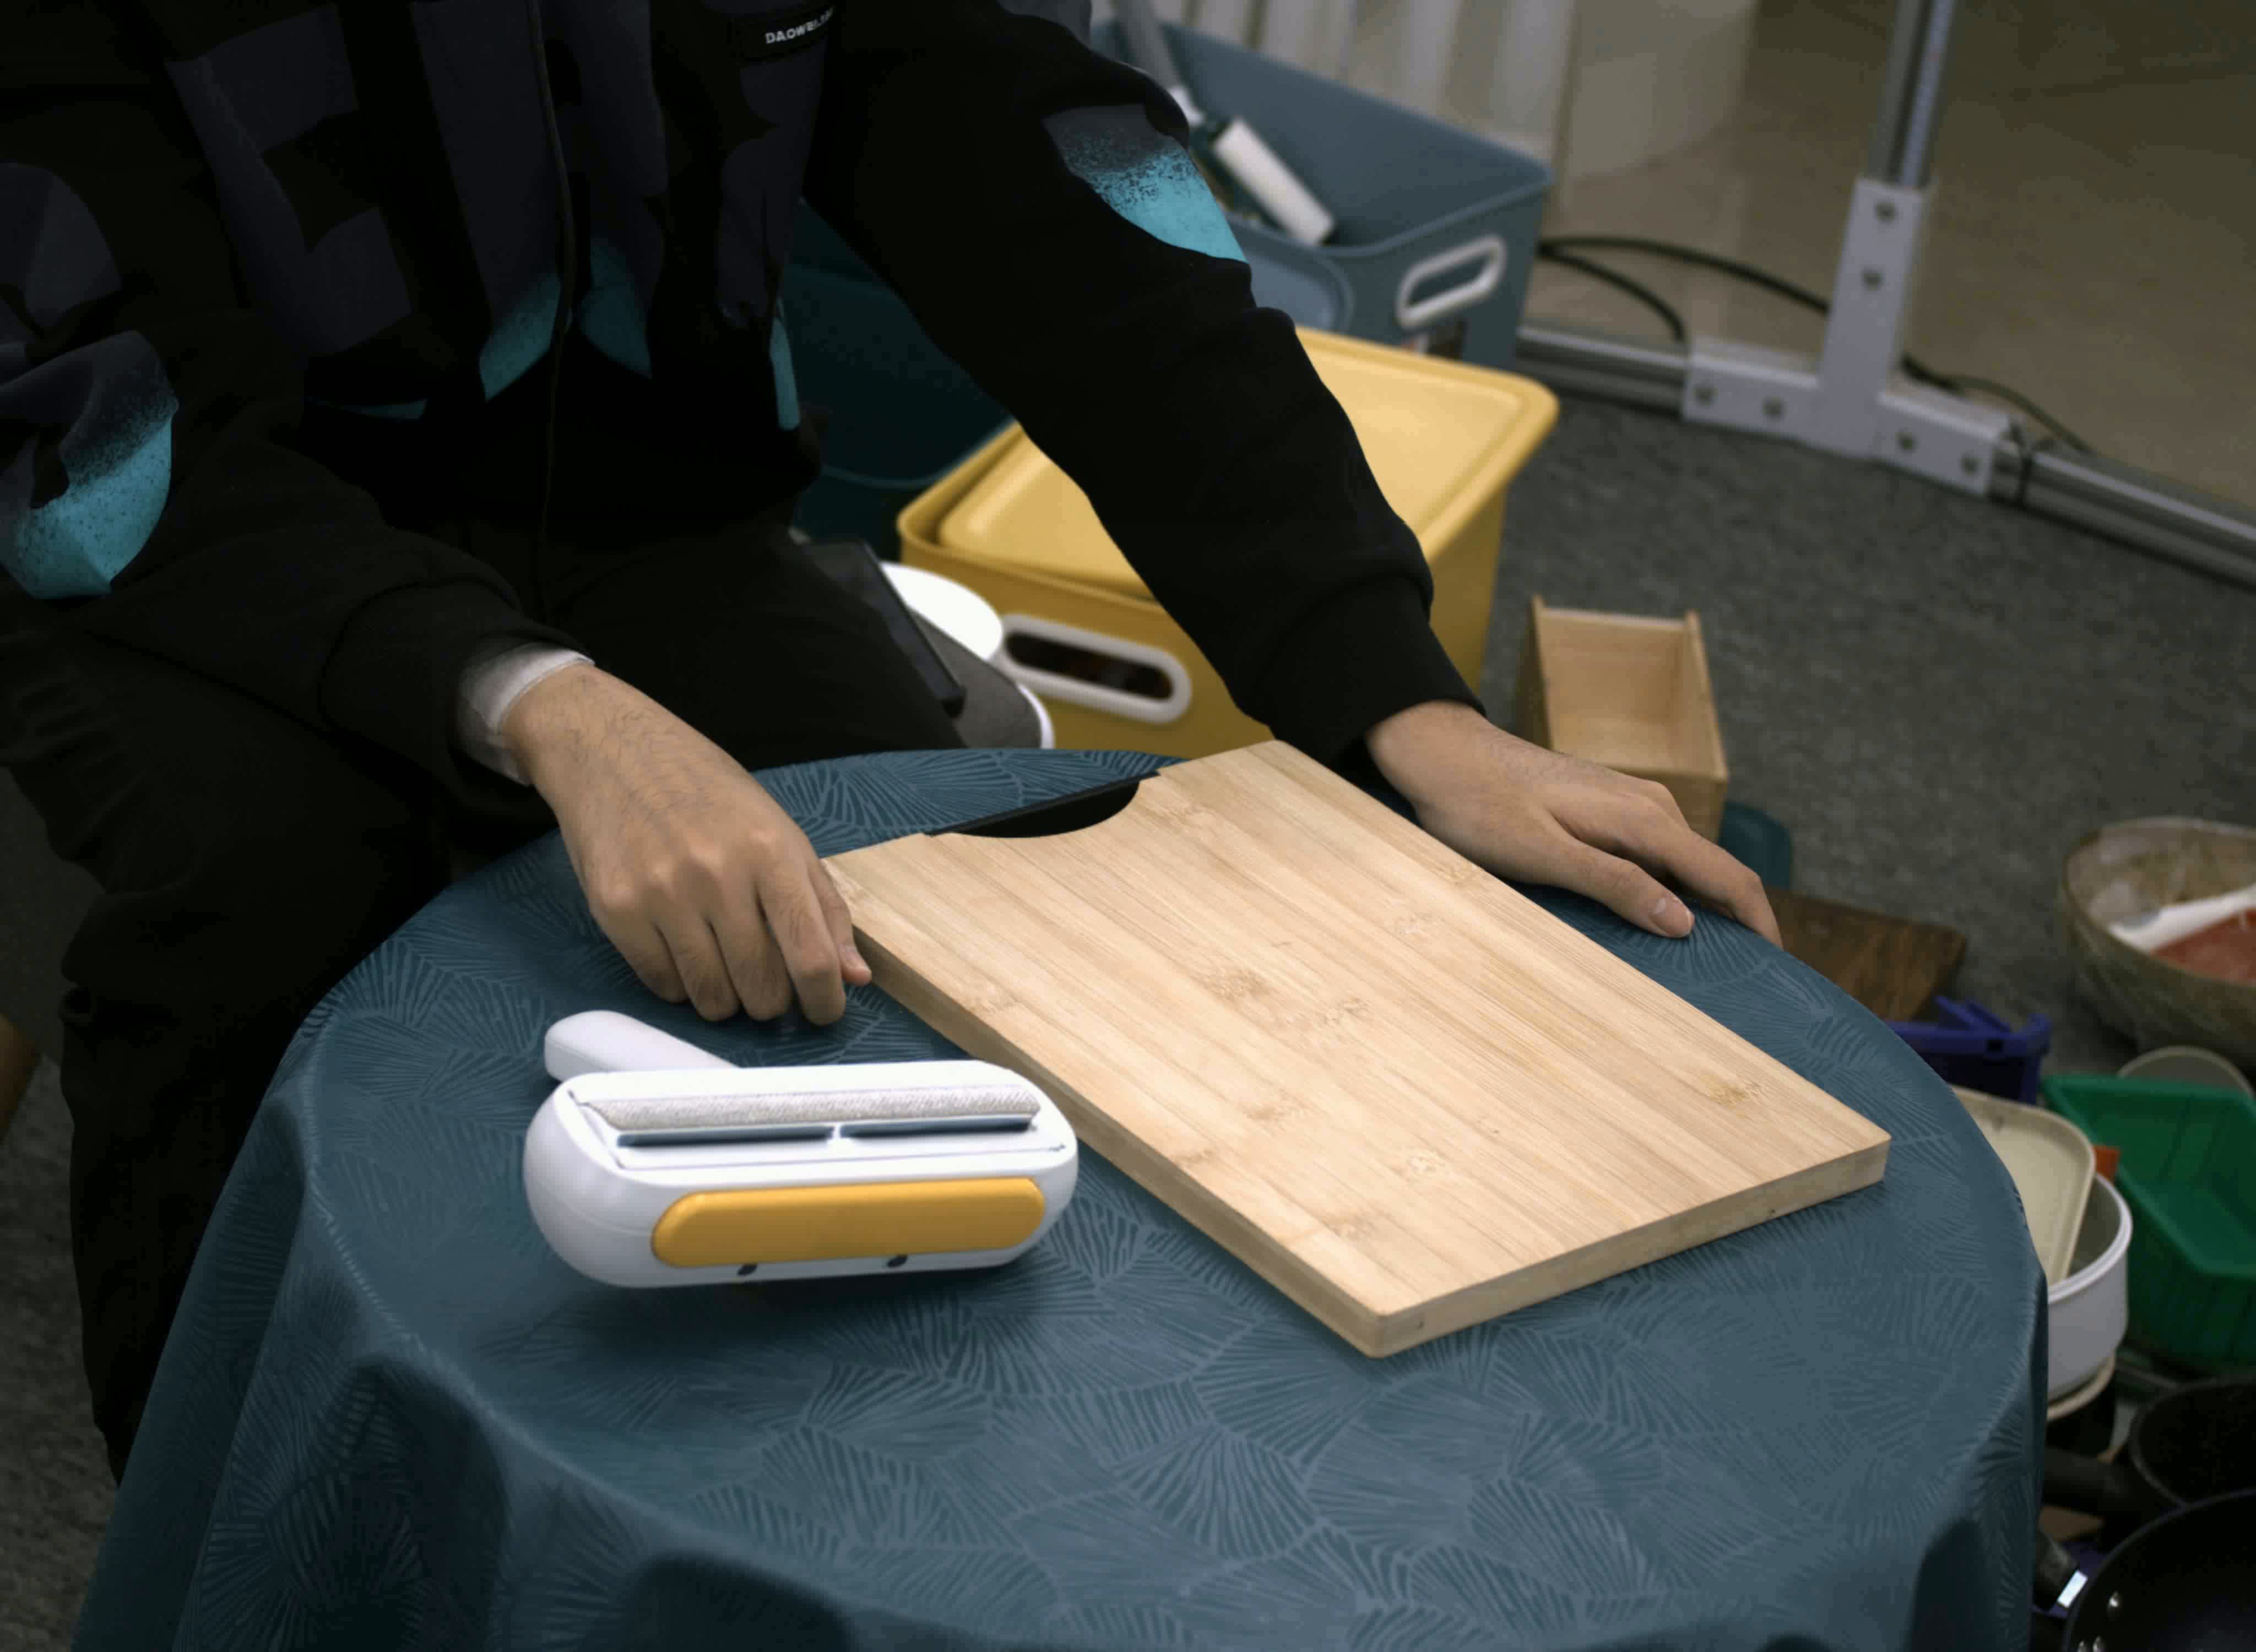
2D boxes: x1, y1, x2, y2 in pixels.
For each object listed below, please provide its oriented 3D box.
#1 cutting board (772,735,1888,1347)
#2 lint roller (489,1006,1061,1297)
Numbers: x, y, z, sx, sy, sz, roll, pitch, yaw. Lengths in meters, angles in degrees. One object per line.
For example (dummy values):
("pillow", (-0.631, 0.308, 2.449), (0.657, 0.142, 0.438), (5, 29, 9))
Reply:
("cutting board", (0.066, 0.069, 1.904), (0.249, 0.023, 0.351), (-15, 34, -36))
("lint roller", (-0.139, 0.093, 1.753), (0.191, 0.074, 0.194), (-3, 26, -29))
